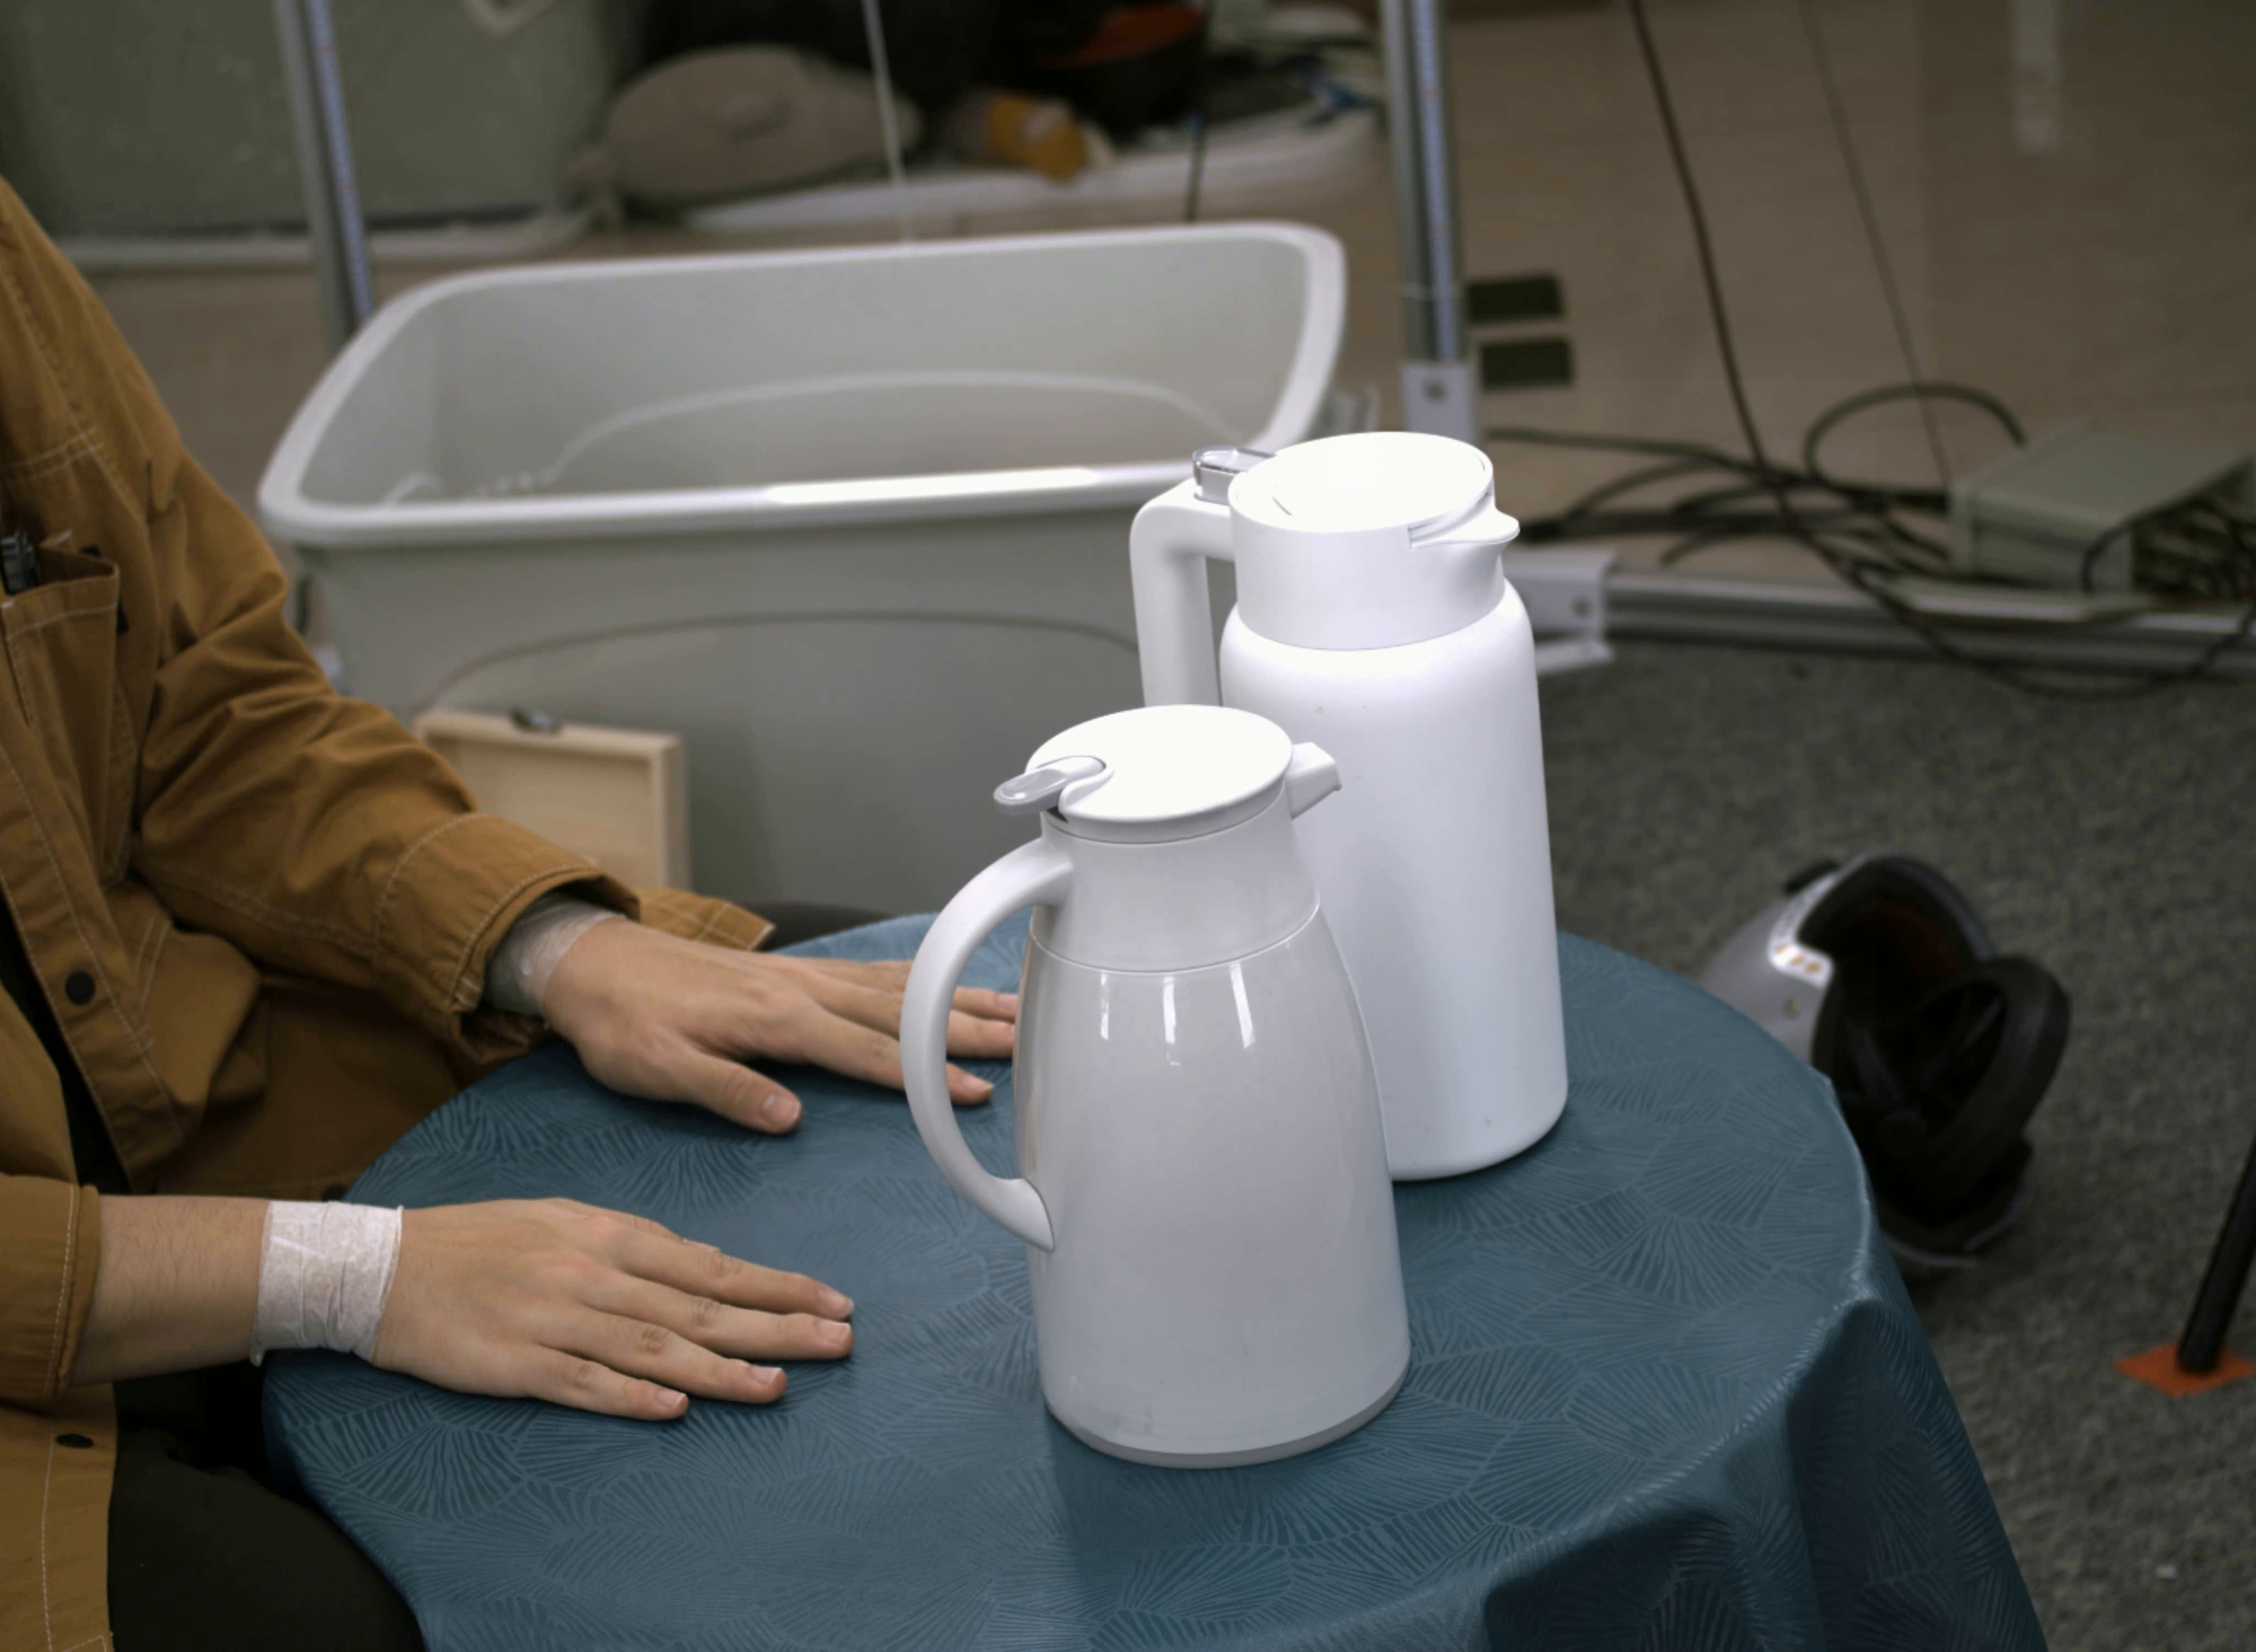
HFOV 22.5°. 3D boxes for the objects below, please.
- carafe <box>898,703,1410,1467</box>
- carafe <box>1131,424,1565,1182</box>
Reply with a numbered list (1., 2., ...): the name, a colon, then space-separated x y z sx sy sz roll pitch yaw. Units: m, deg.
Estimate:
1. carafe: 0.005 0.088 1.959 0.167 0.252 0.131 -17 28 -19
2. carafe: 0.083 -0.010 2.128 0.172 0.273 0.122 14 34 36
